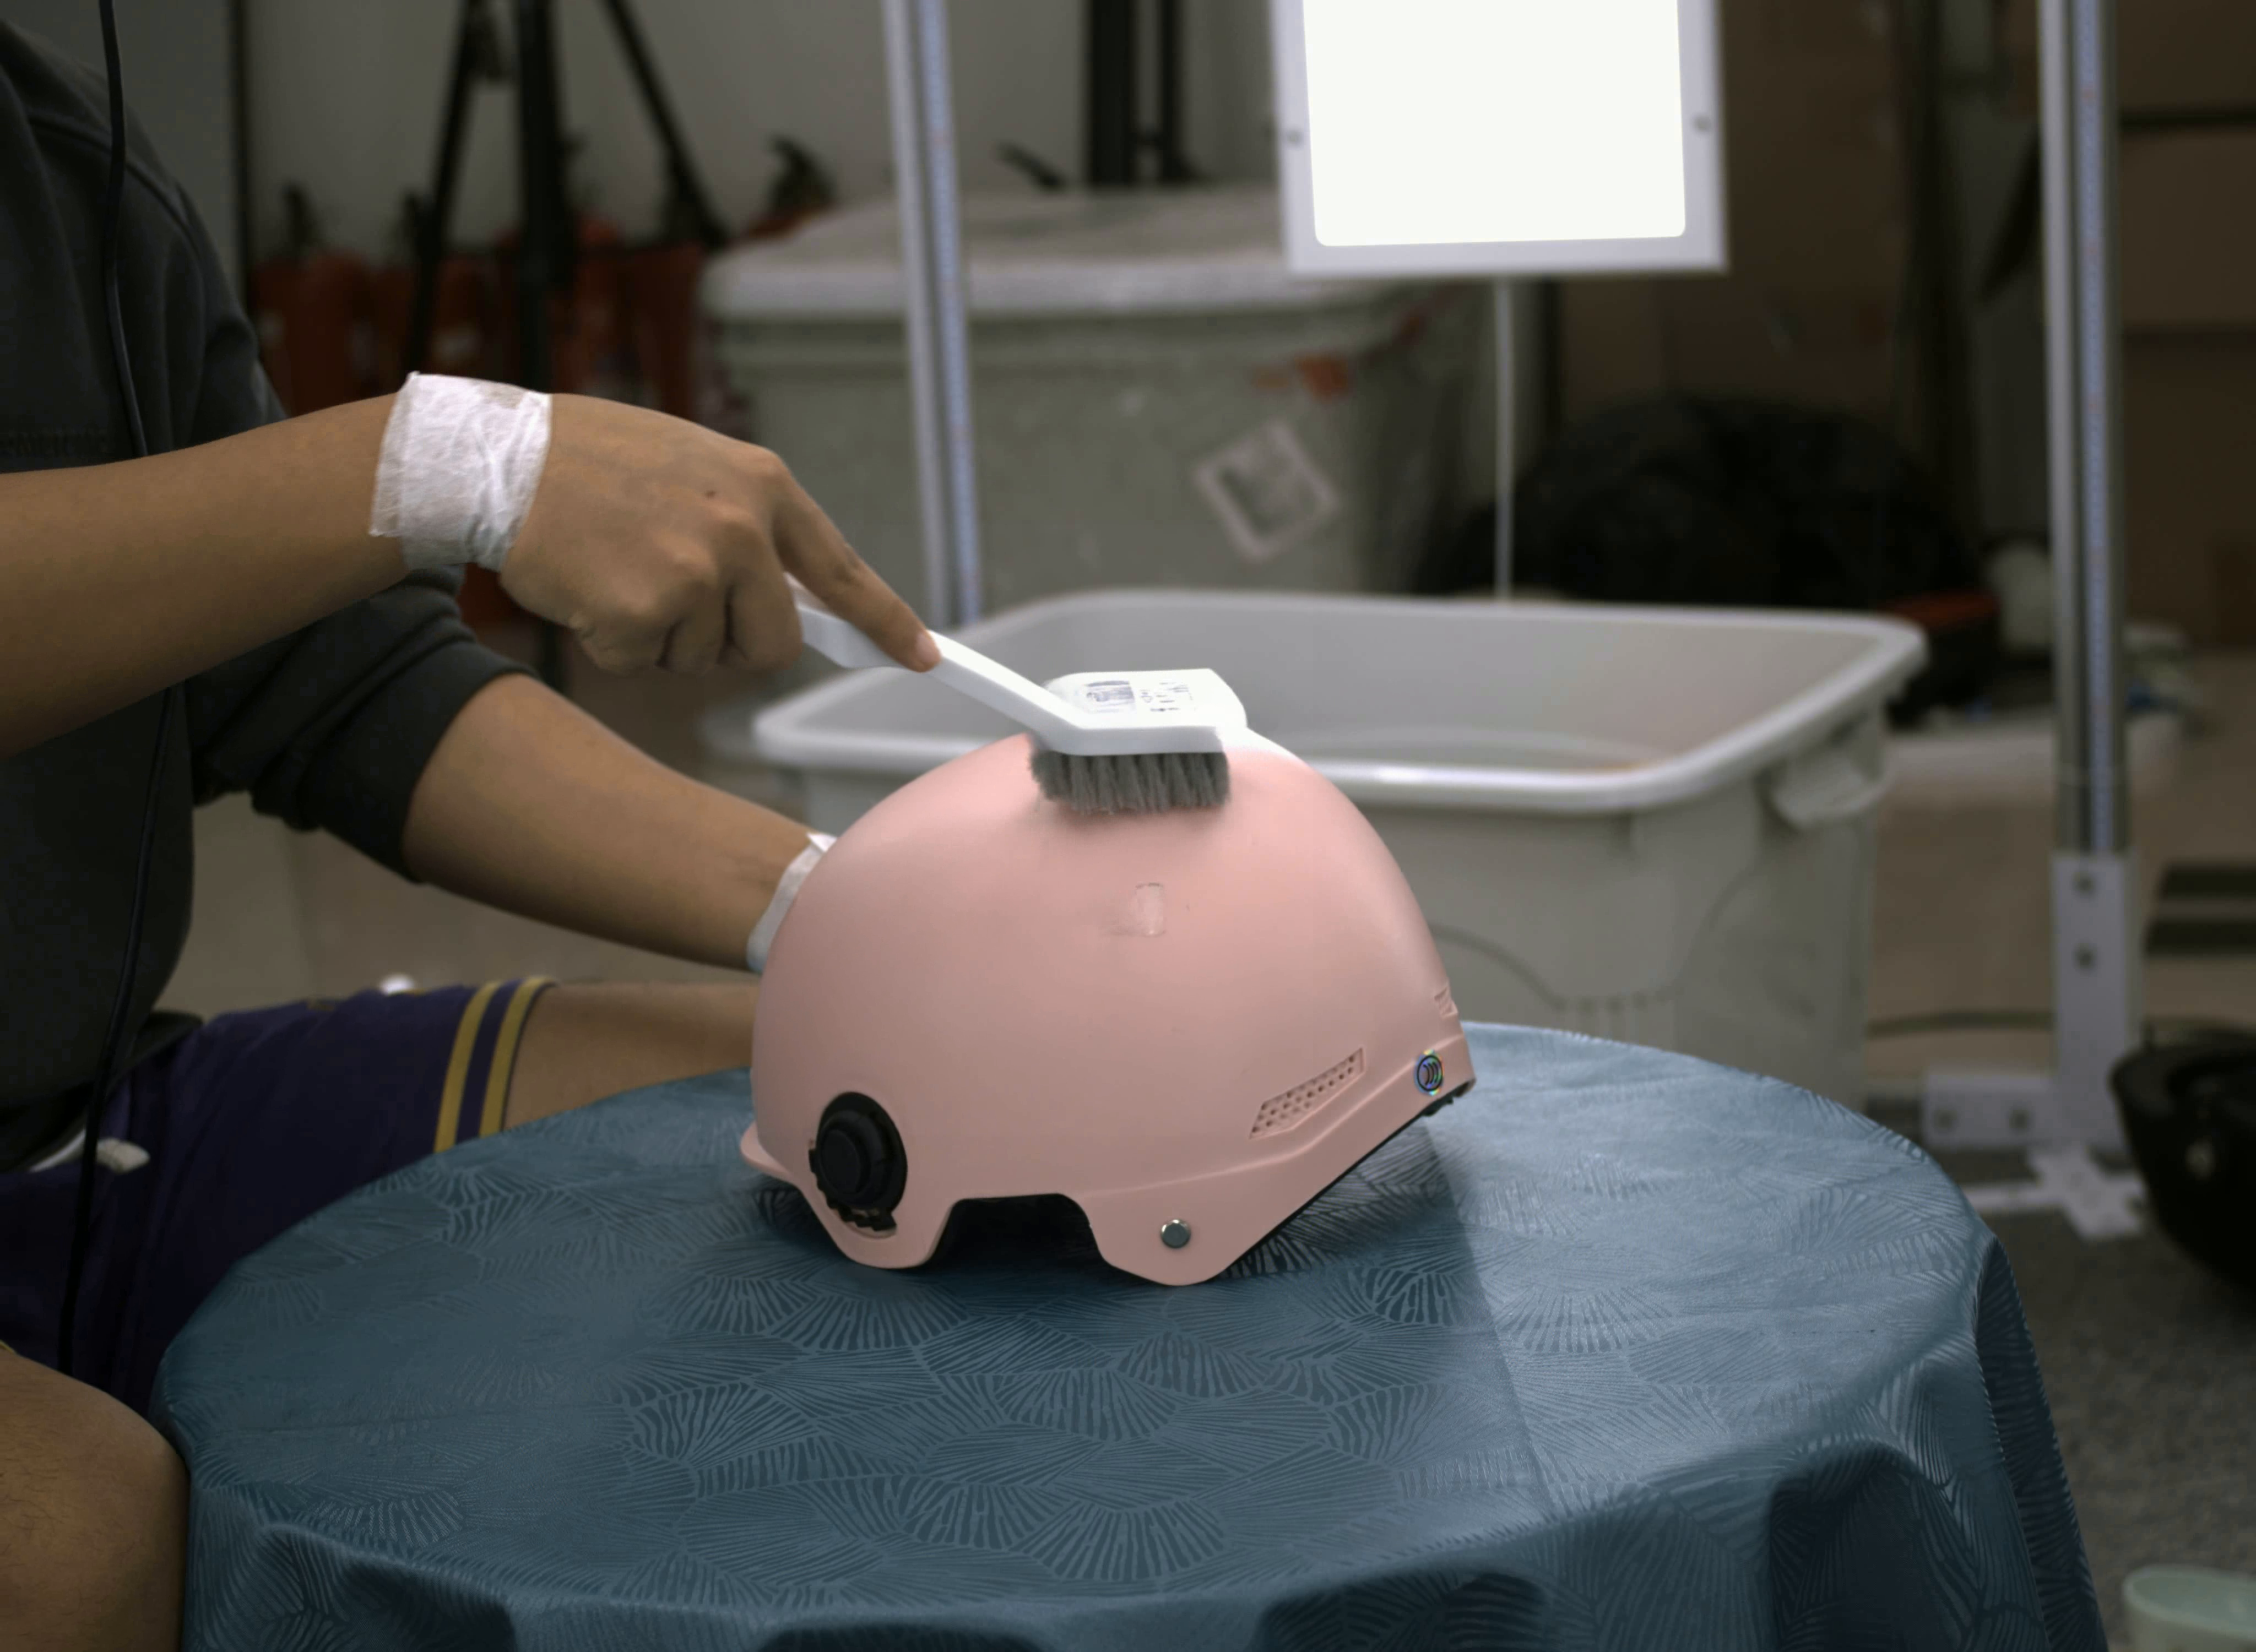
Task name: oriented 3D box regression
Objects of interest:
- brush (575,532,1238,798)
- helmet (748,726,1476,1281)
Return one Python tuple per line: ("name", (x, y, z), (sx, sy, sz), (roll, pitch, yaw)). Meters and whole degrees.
("brush", (-0.071, -0.048, 1.770), (0.239, 0.051, 0.034), (12, 32, -24))
("helmet", (-0.018, 0.045, 1.890), (0.271, 0.159, 0.228), (0, 19, 36))
